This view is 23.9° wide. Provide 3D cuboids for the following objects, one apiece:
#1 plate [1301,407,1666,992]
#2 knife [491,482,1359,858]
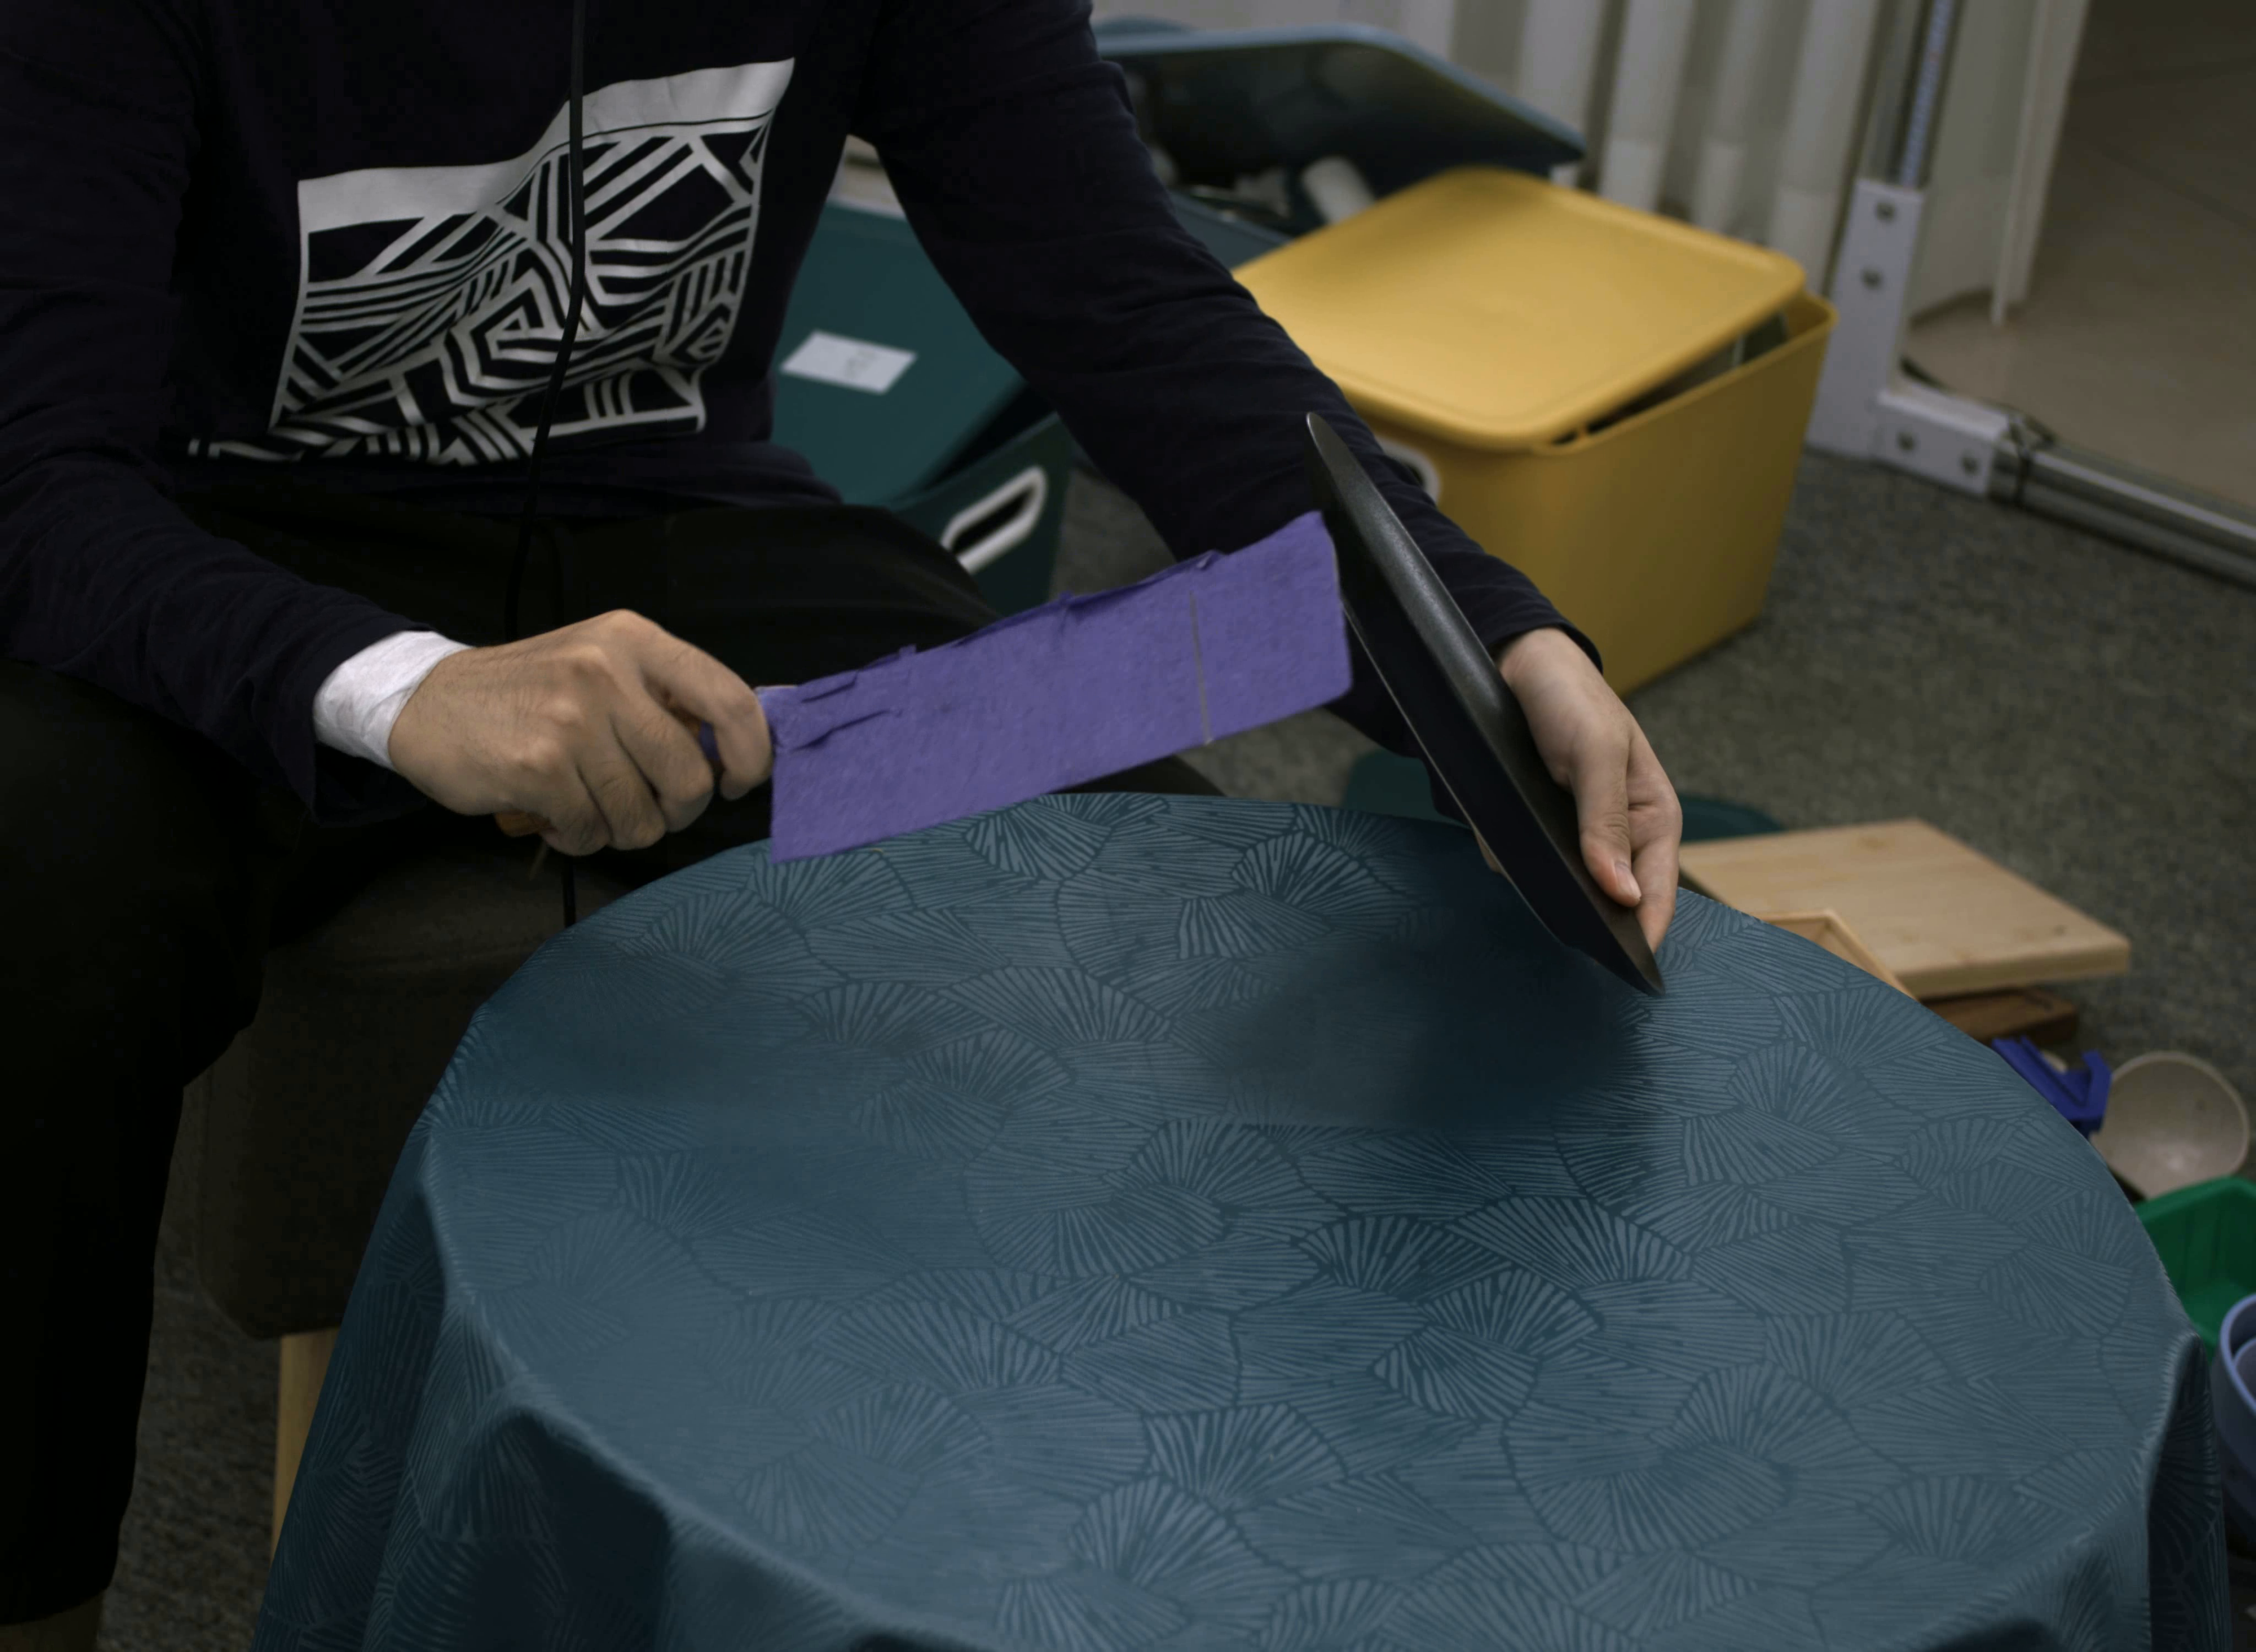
[{"bbox_3d":[0.120,-0.041,1.901,0.023,0.242,0.246,-32,28,8],"label":"plate"},{"bbox_3d":[-0.072,-0.036,1.803,0.315,0.032,0.105,-20,38,13],"label":"knife"}]
